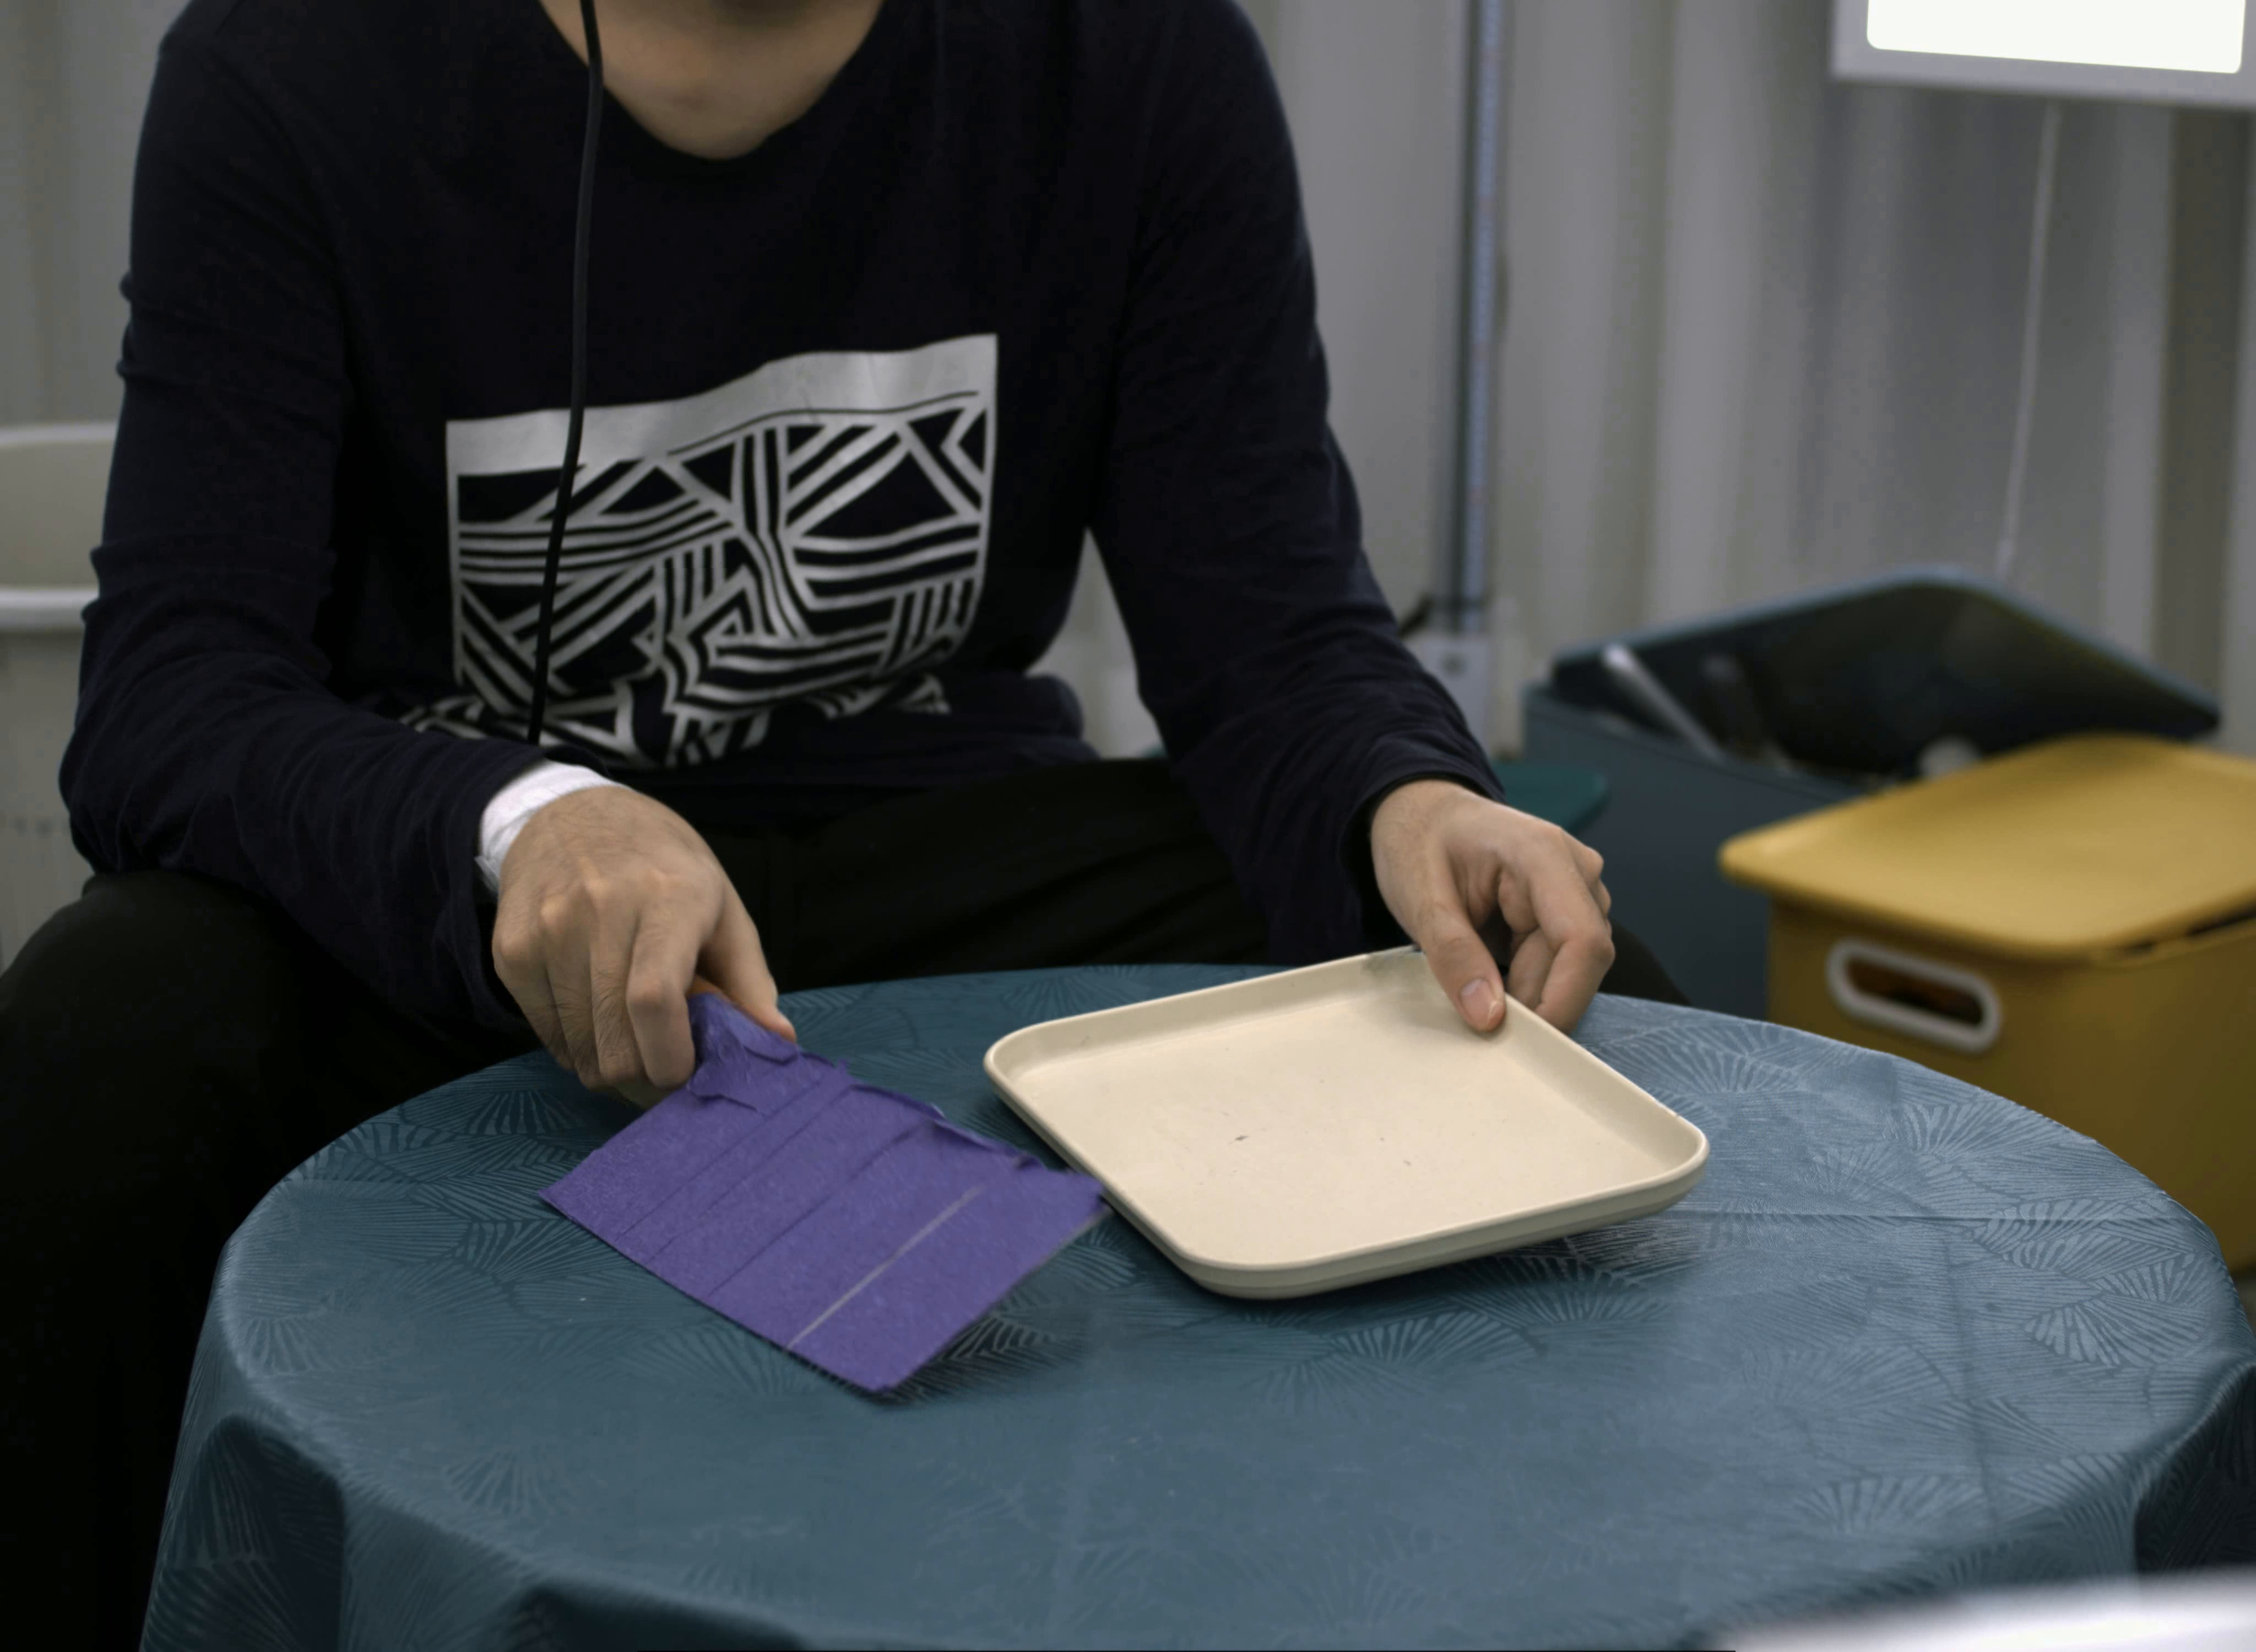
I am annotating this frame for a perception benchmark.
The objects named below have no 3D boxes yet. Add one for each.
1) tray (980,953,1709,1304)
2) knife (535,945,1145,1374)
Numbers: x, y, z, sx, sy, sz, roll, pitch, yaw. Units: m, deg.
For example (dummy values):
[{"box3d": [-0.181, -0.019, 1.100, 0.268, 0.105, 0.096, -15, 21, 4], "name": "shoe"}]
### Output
[{"box3d": [0.064, 0.092, 1.640, 0.171, 0.017, 0.237, -12, 19, -17], "name": "tray"}, {"box3d": [-0.118, 0.096, 1.581, 0.104, 0.032, 0.311, -35, 28, -23], "name": "knife"}]
